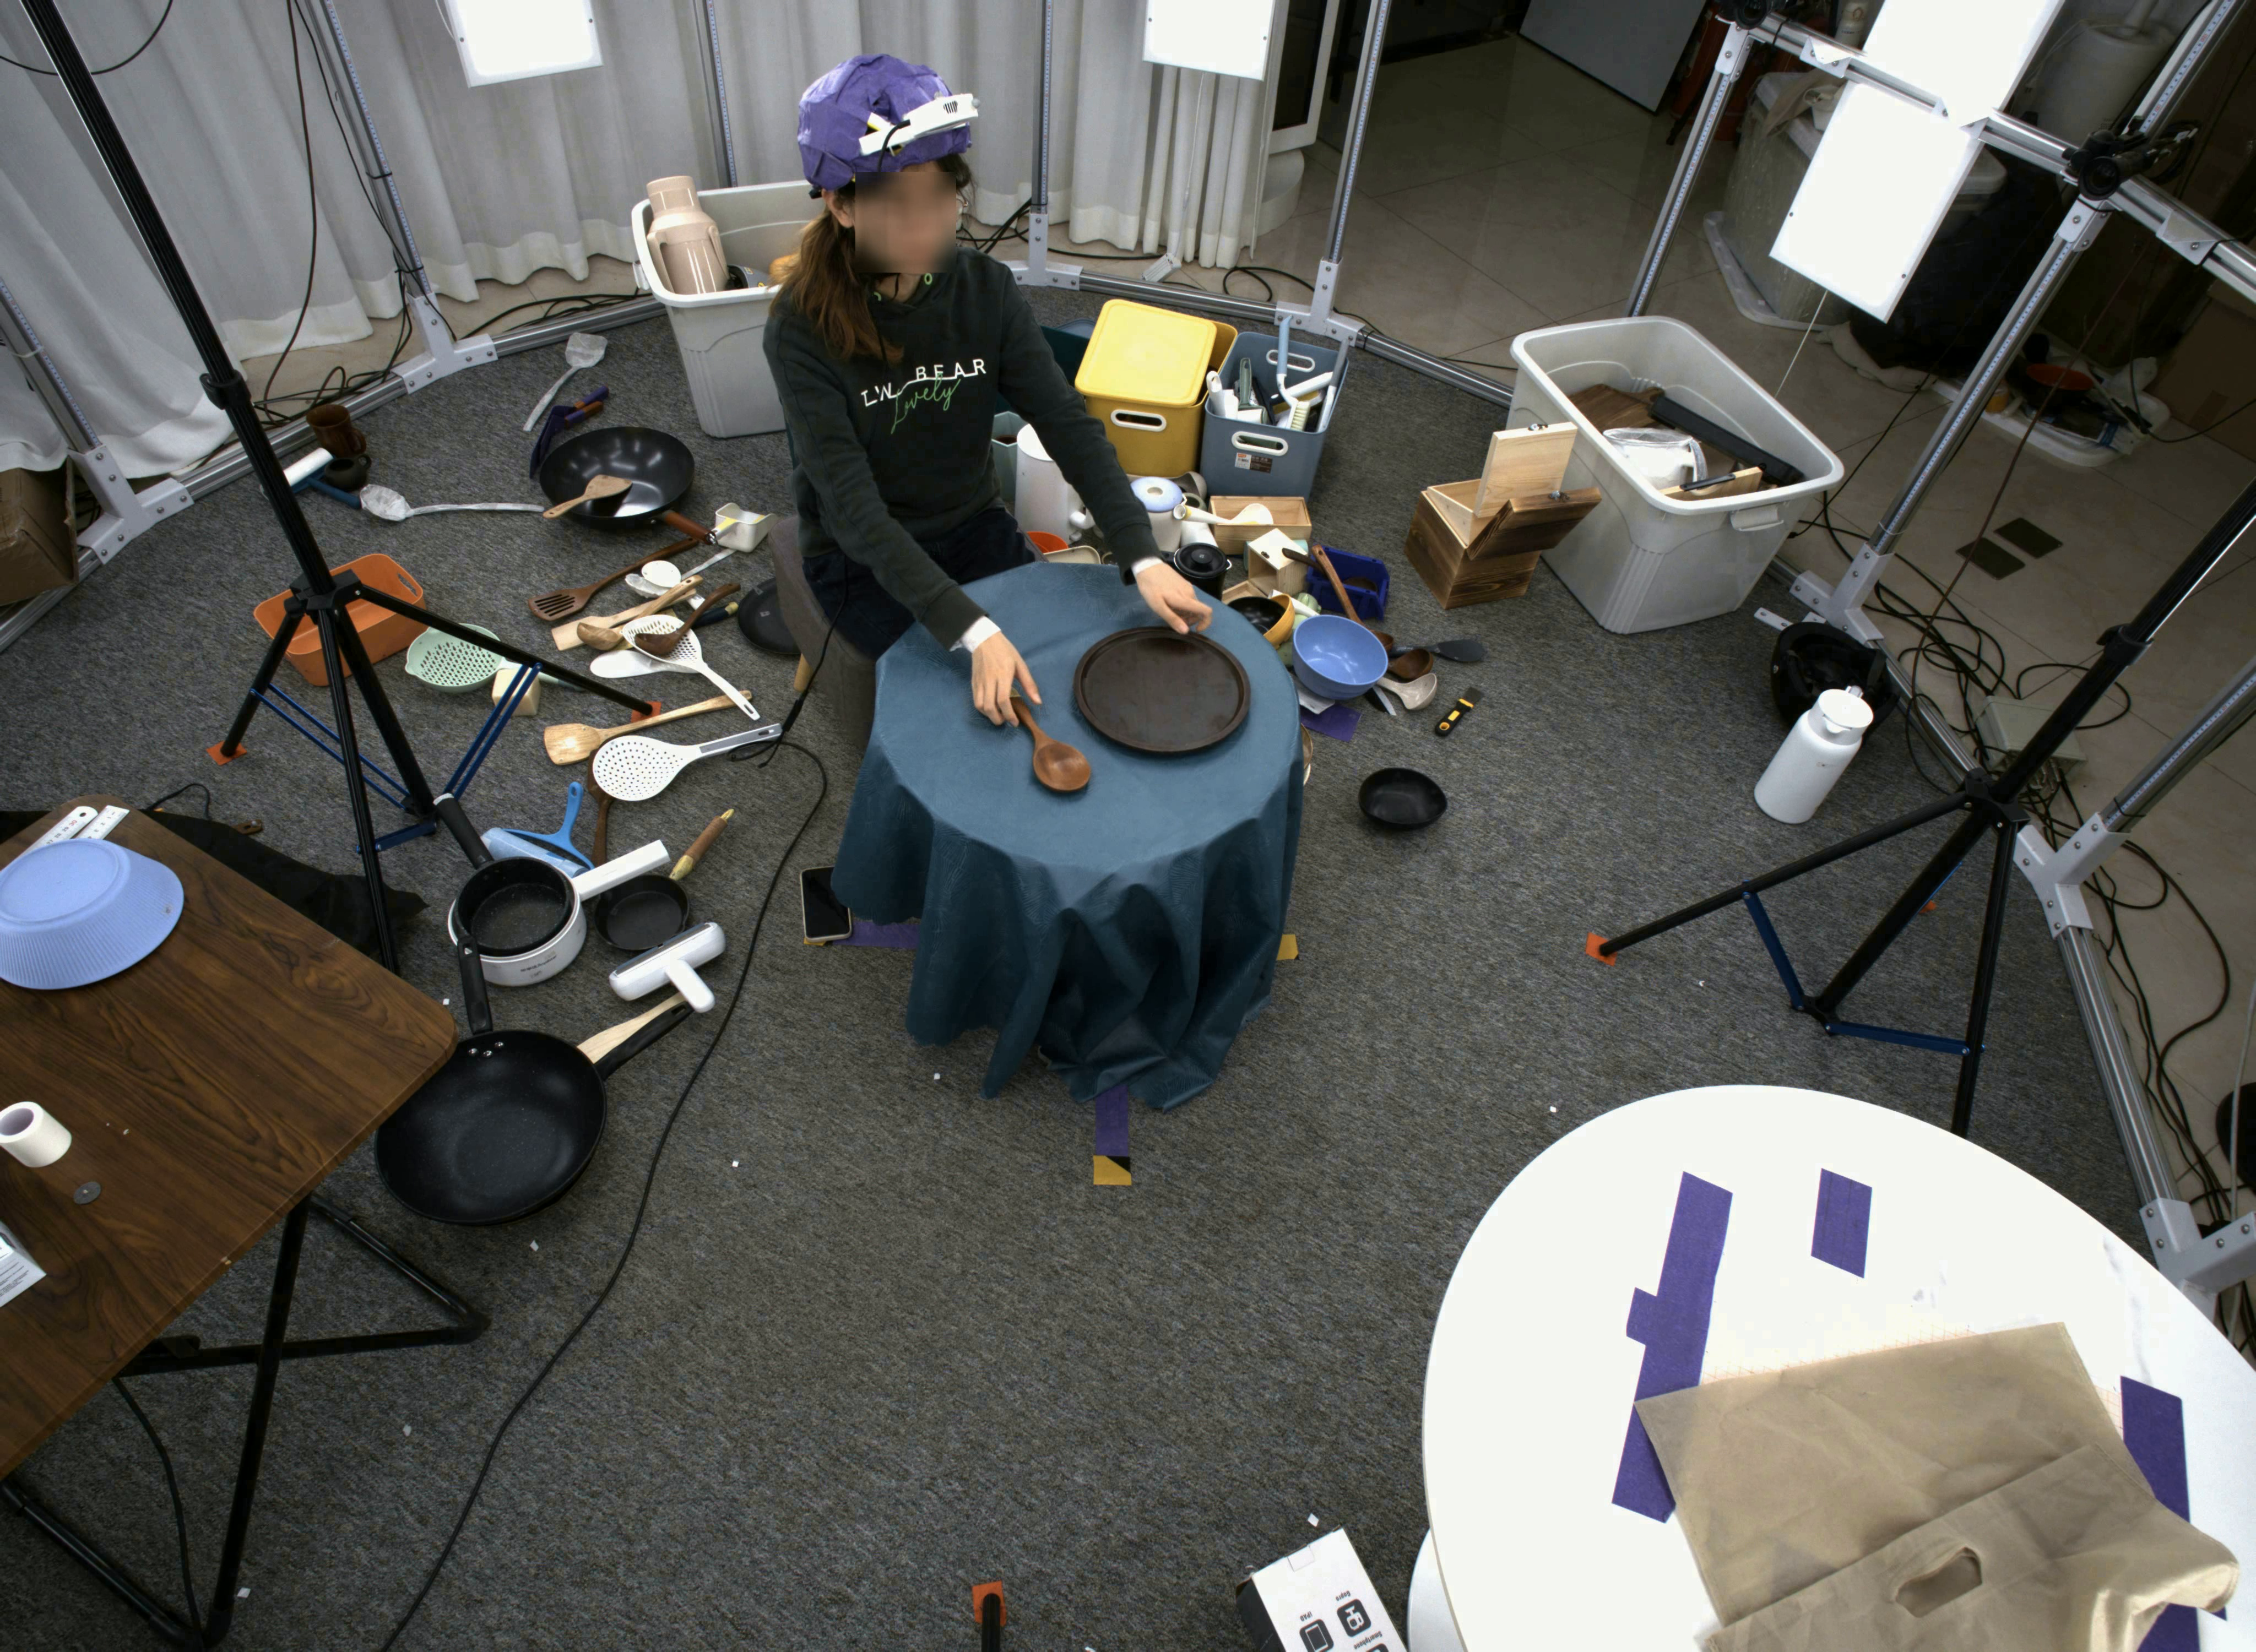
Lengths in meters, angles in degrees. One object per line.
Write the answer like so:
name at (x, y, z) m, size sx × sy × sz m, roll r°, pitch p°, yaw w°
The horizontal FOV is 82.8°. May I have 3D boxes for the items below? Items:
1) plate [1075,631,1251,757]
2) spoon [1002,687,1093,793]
plate at (0.050, -0.191, 1.840) m, size 0.254 × 0.028 × 0.261 m, roll 3°, pitch 49°, yaw -3°
spoon at (-0.118, -0.120, 1.769) m, size 0.075 × 0.017 × 0.220 m, roll -21°, pitch 54°, yaw -20°
